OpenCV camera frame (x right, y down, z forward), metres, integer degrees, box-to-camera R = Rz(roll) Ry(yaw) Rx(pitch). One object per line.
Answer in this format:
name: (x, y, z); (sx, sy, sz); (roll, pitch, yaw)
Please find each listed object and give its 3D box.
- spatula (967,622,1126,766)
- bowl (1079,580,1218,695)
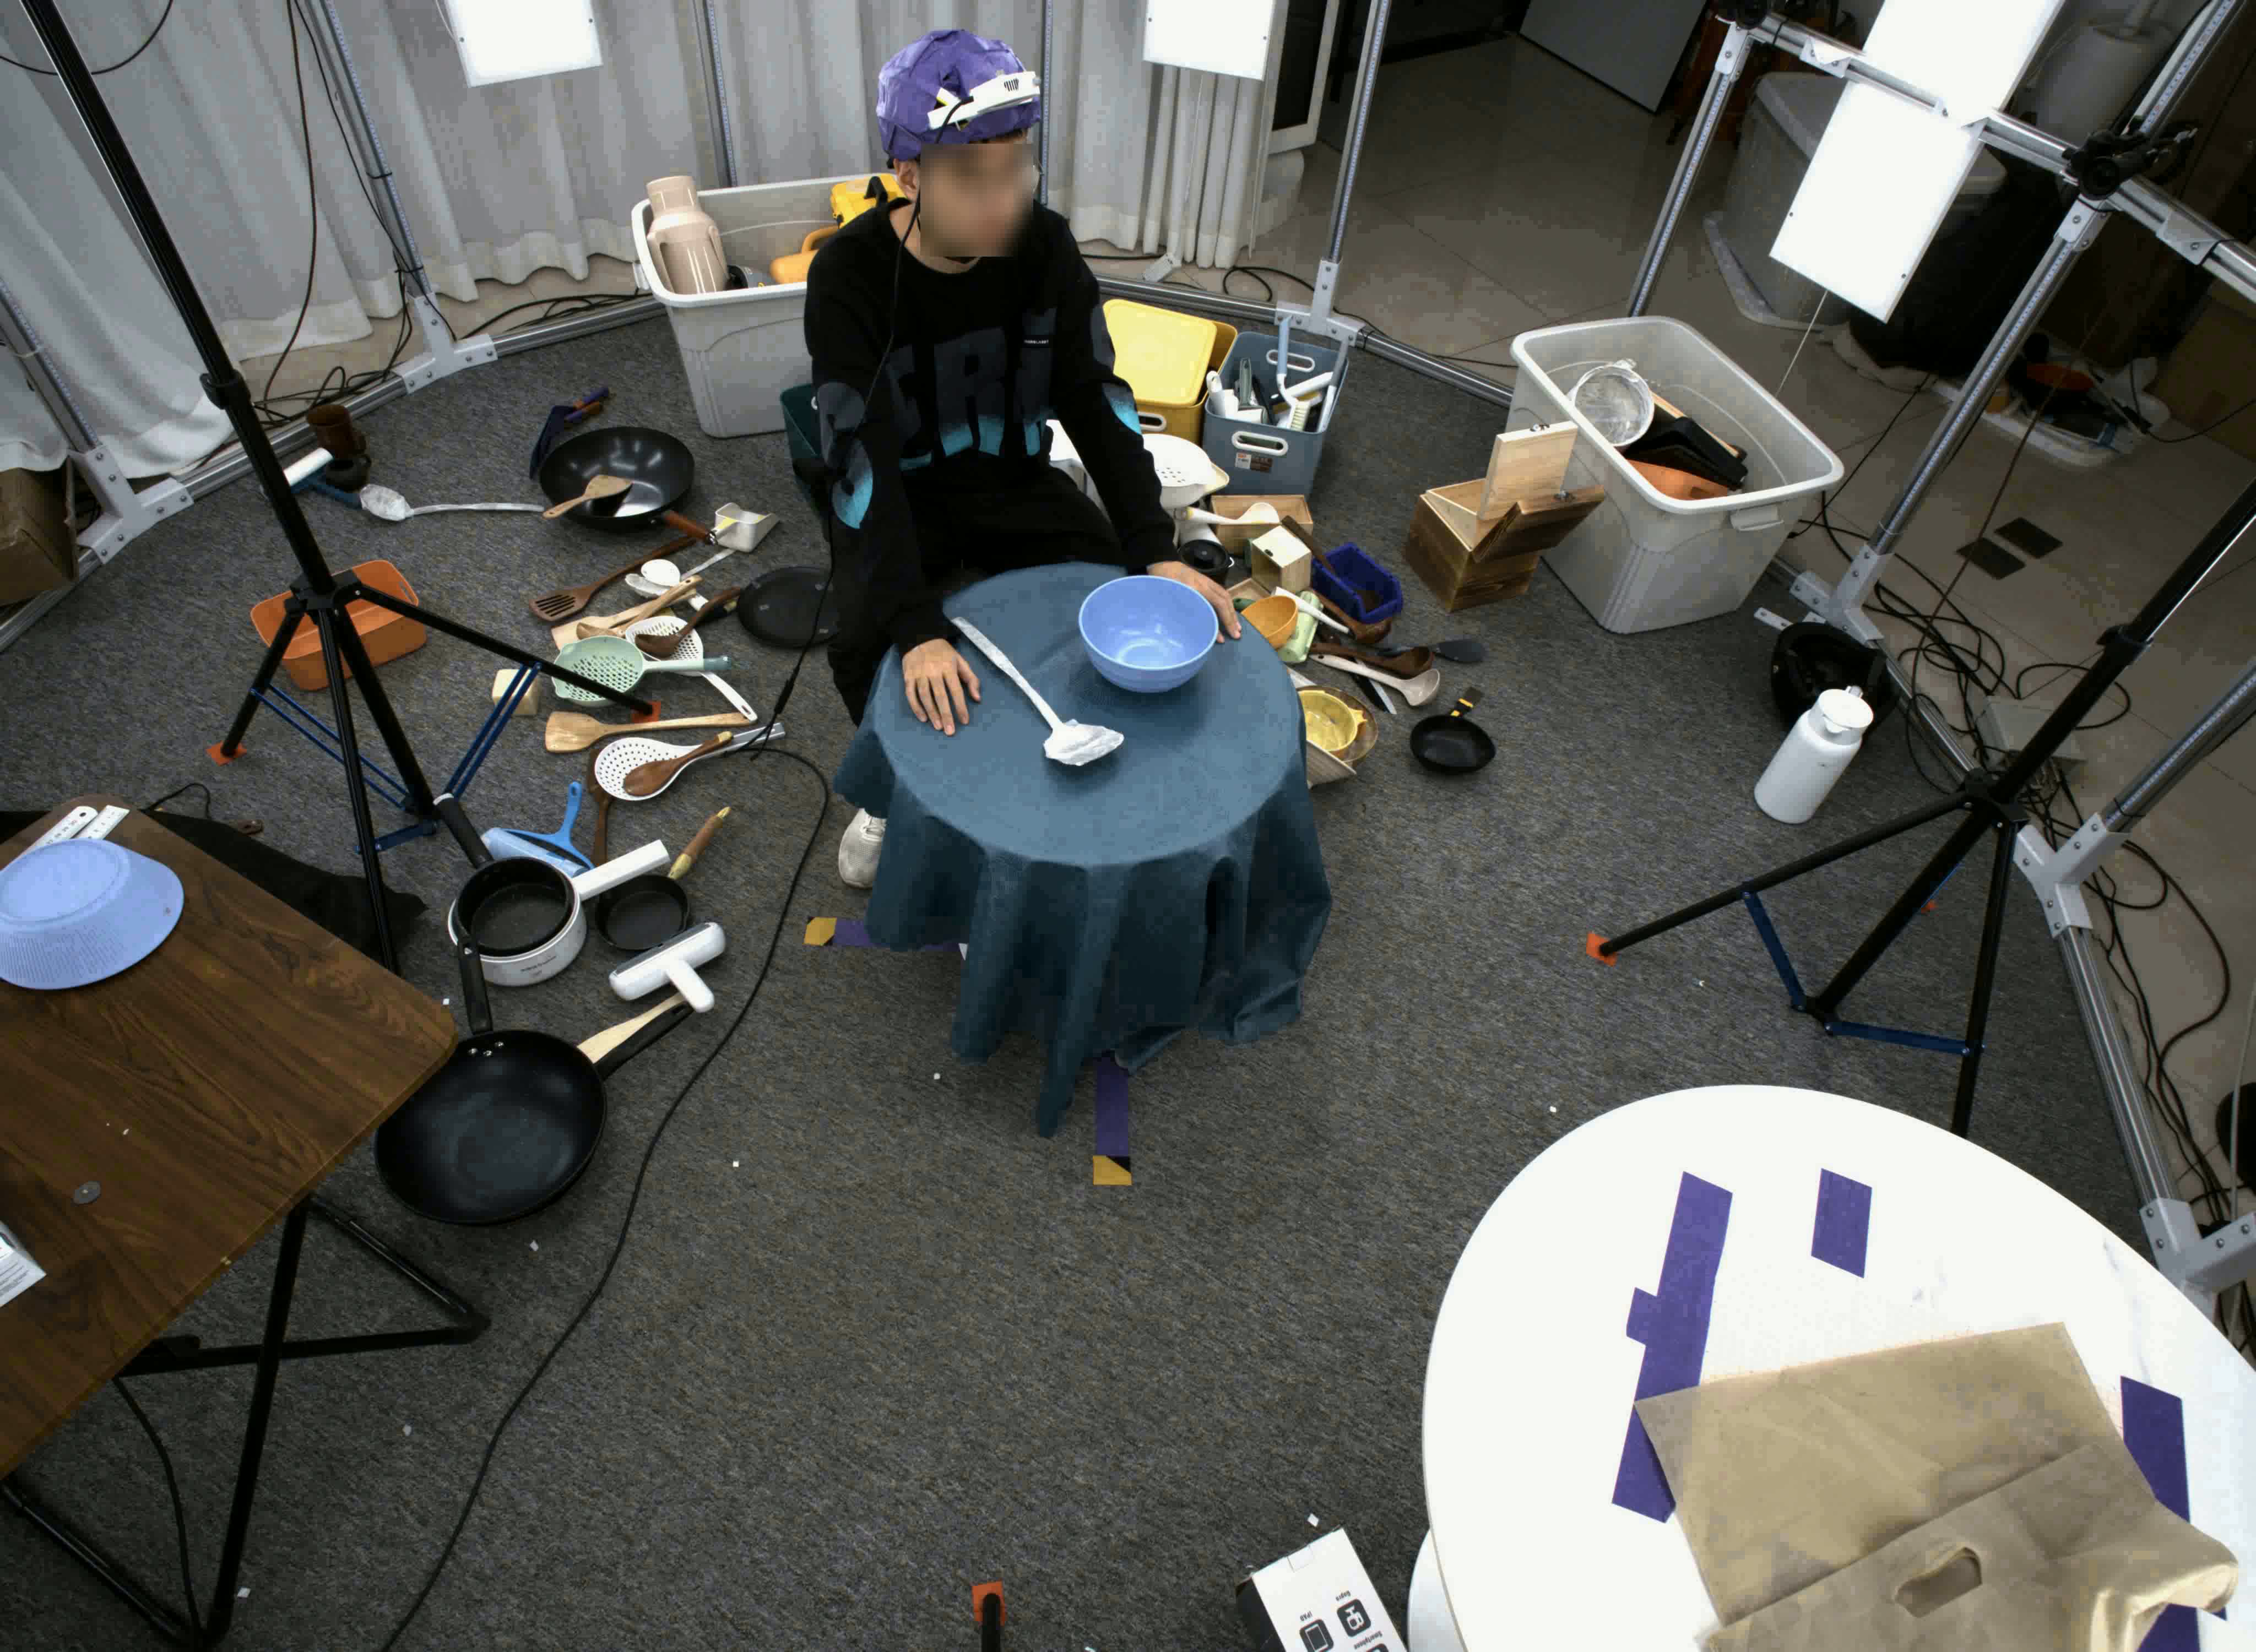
spatula: (-0.138, -0.198, 1.823); (0.099, 0.043, 0.372); (-27, 56, -22)
bowl: (0.028, -0.256, 1.850); (0.196, 0.093, 0.201); (1, 49, -1)
